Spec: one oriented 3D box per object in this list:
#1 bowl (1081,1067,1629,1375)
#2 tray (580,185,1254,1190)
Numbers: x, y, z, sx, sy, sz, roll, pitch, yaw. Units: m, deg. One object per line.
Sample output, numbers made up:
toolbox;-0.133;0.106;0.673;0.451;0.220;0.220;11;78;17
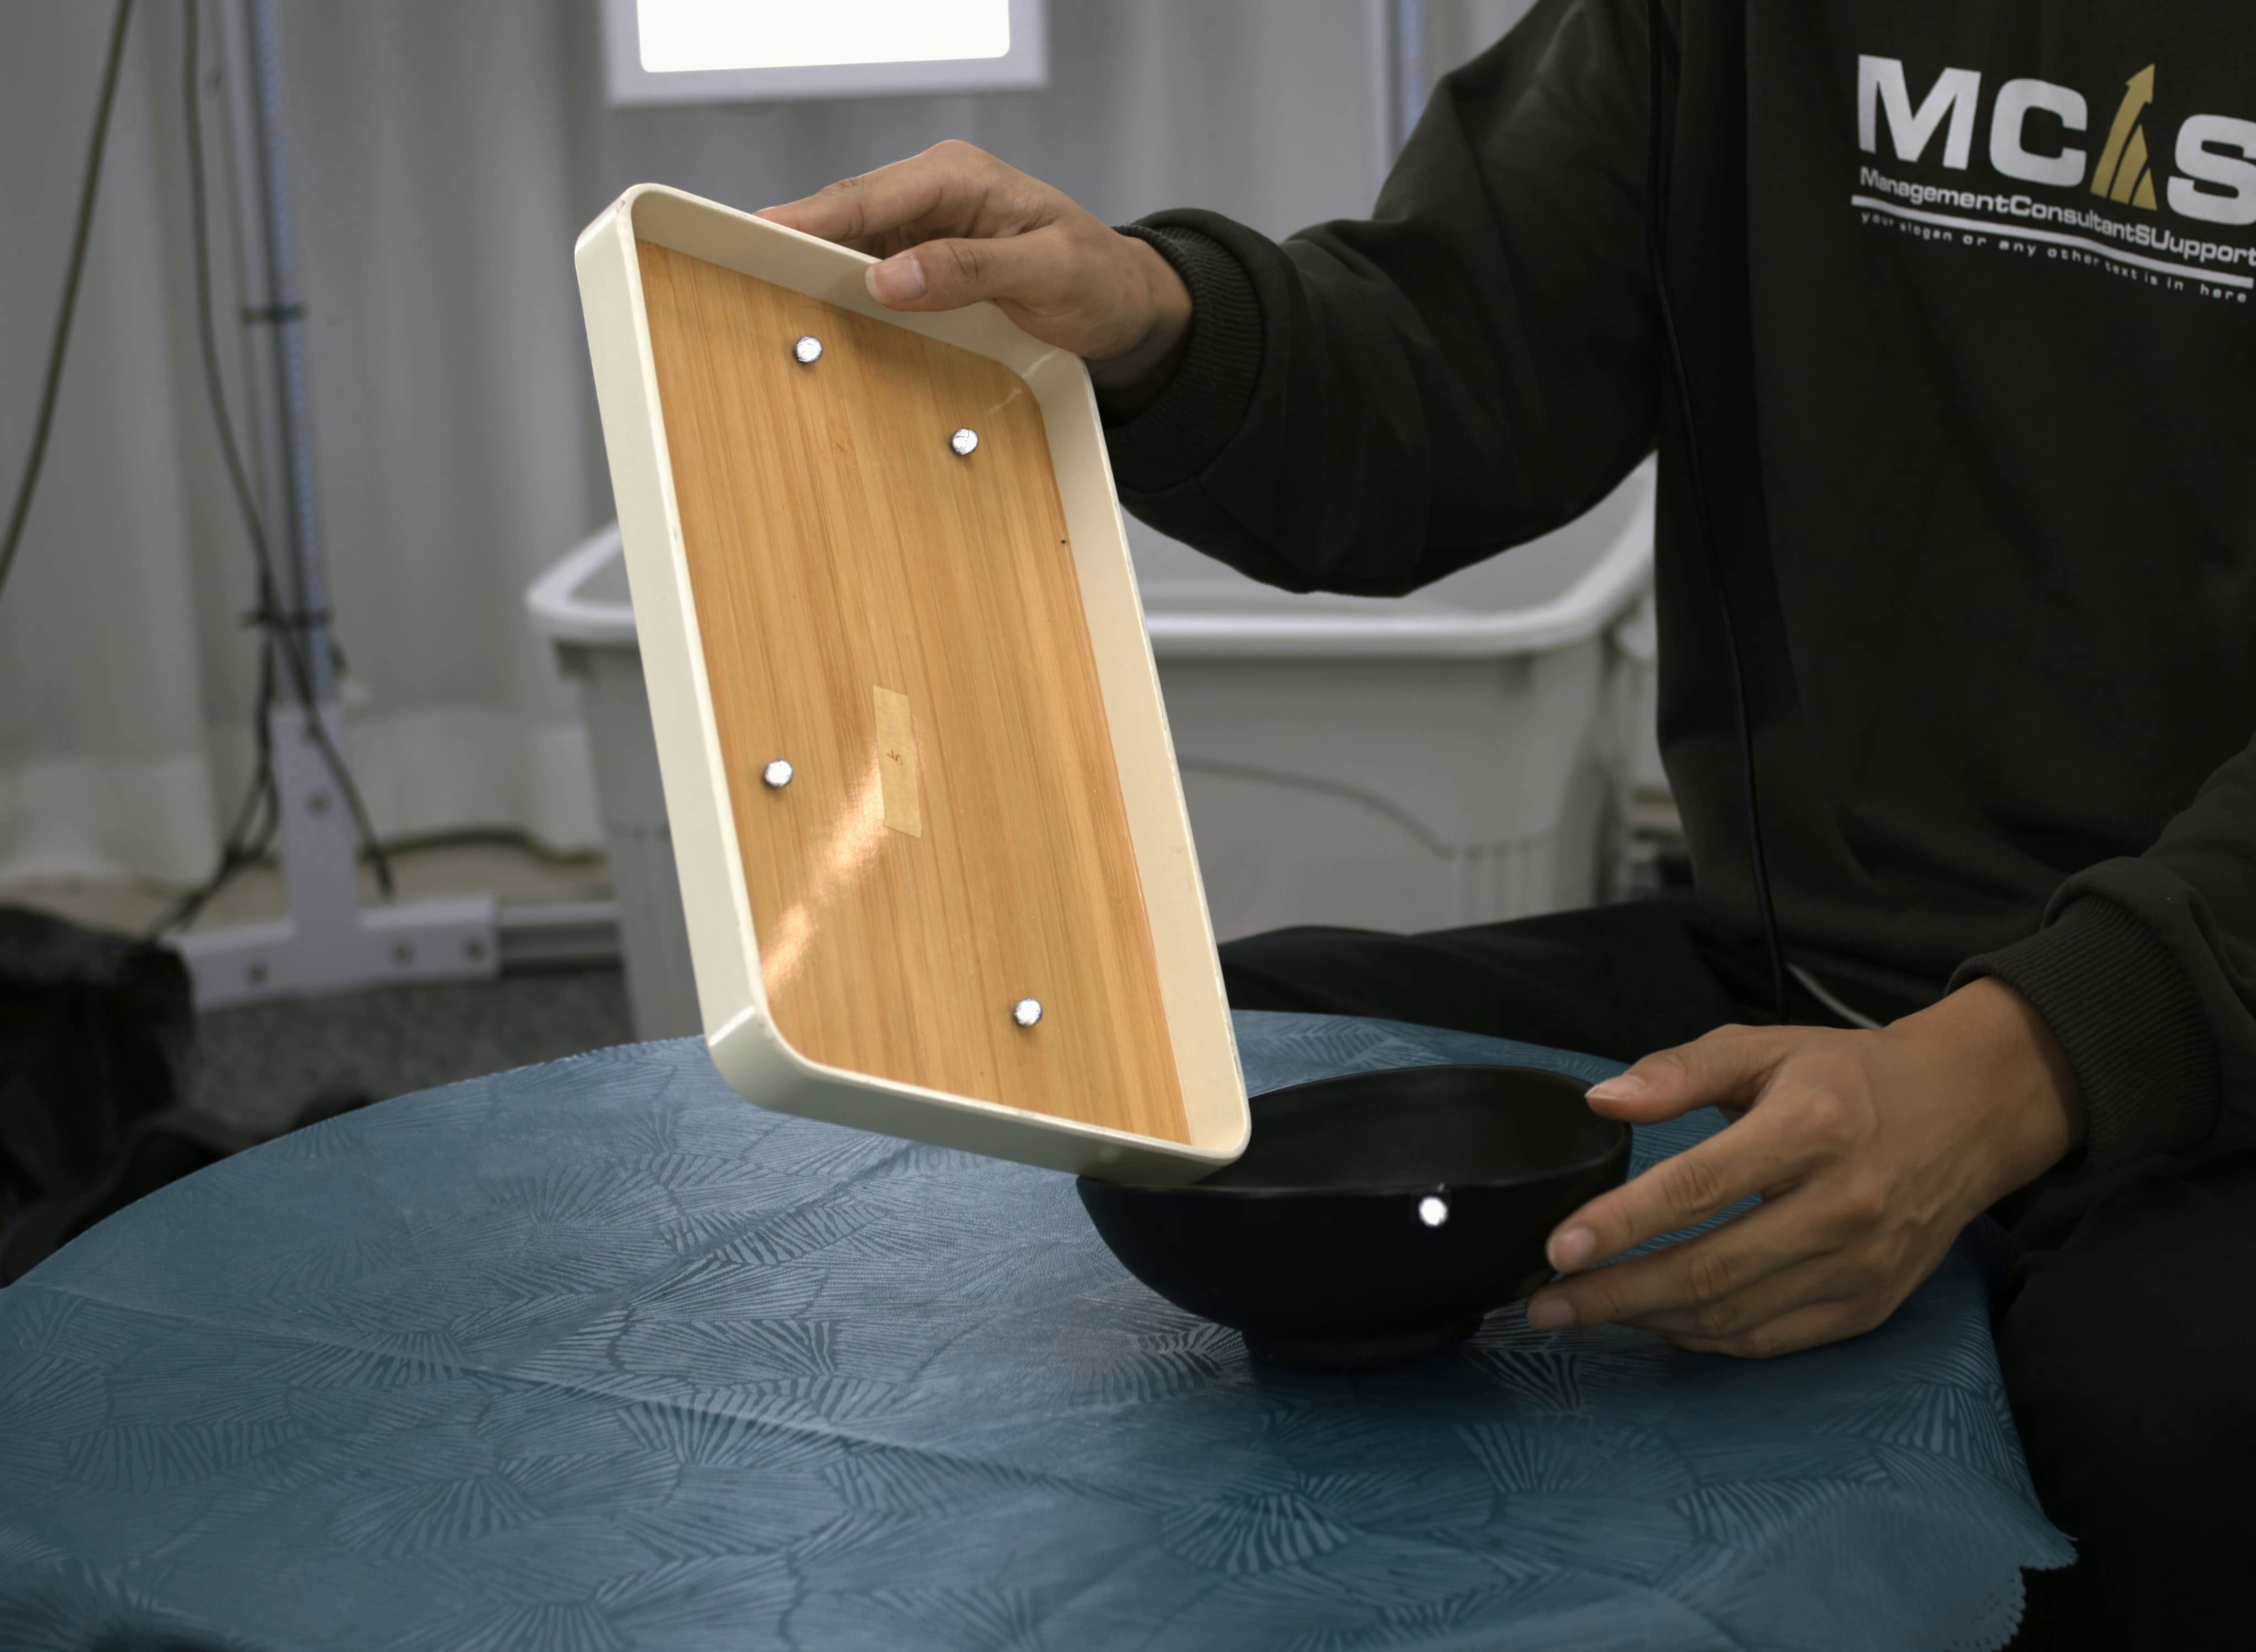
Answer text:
bowl;0.066;0.118;1.567;0.170;0.066;0.137;-3;10;32
tray;-0.064;-0.041;1.622;0.190;0.304;0.027;16;-39;-40
